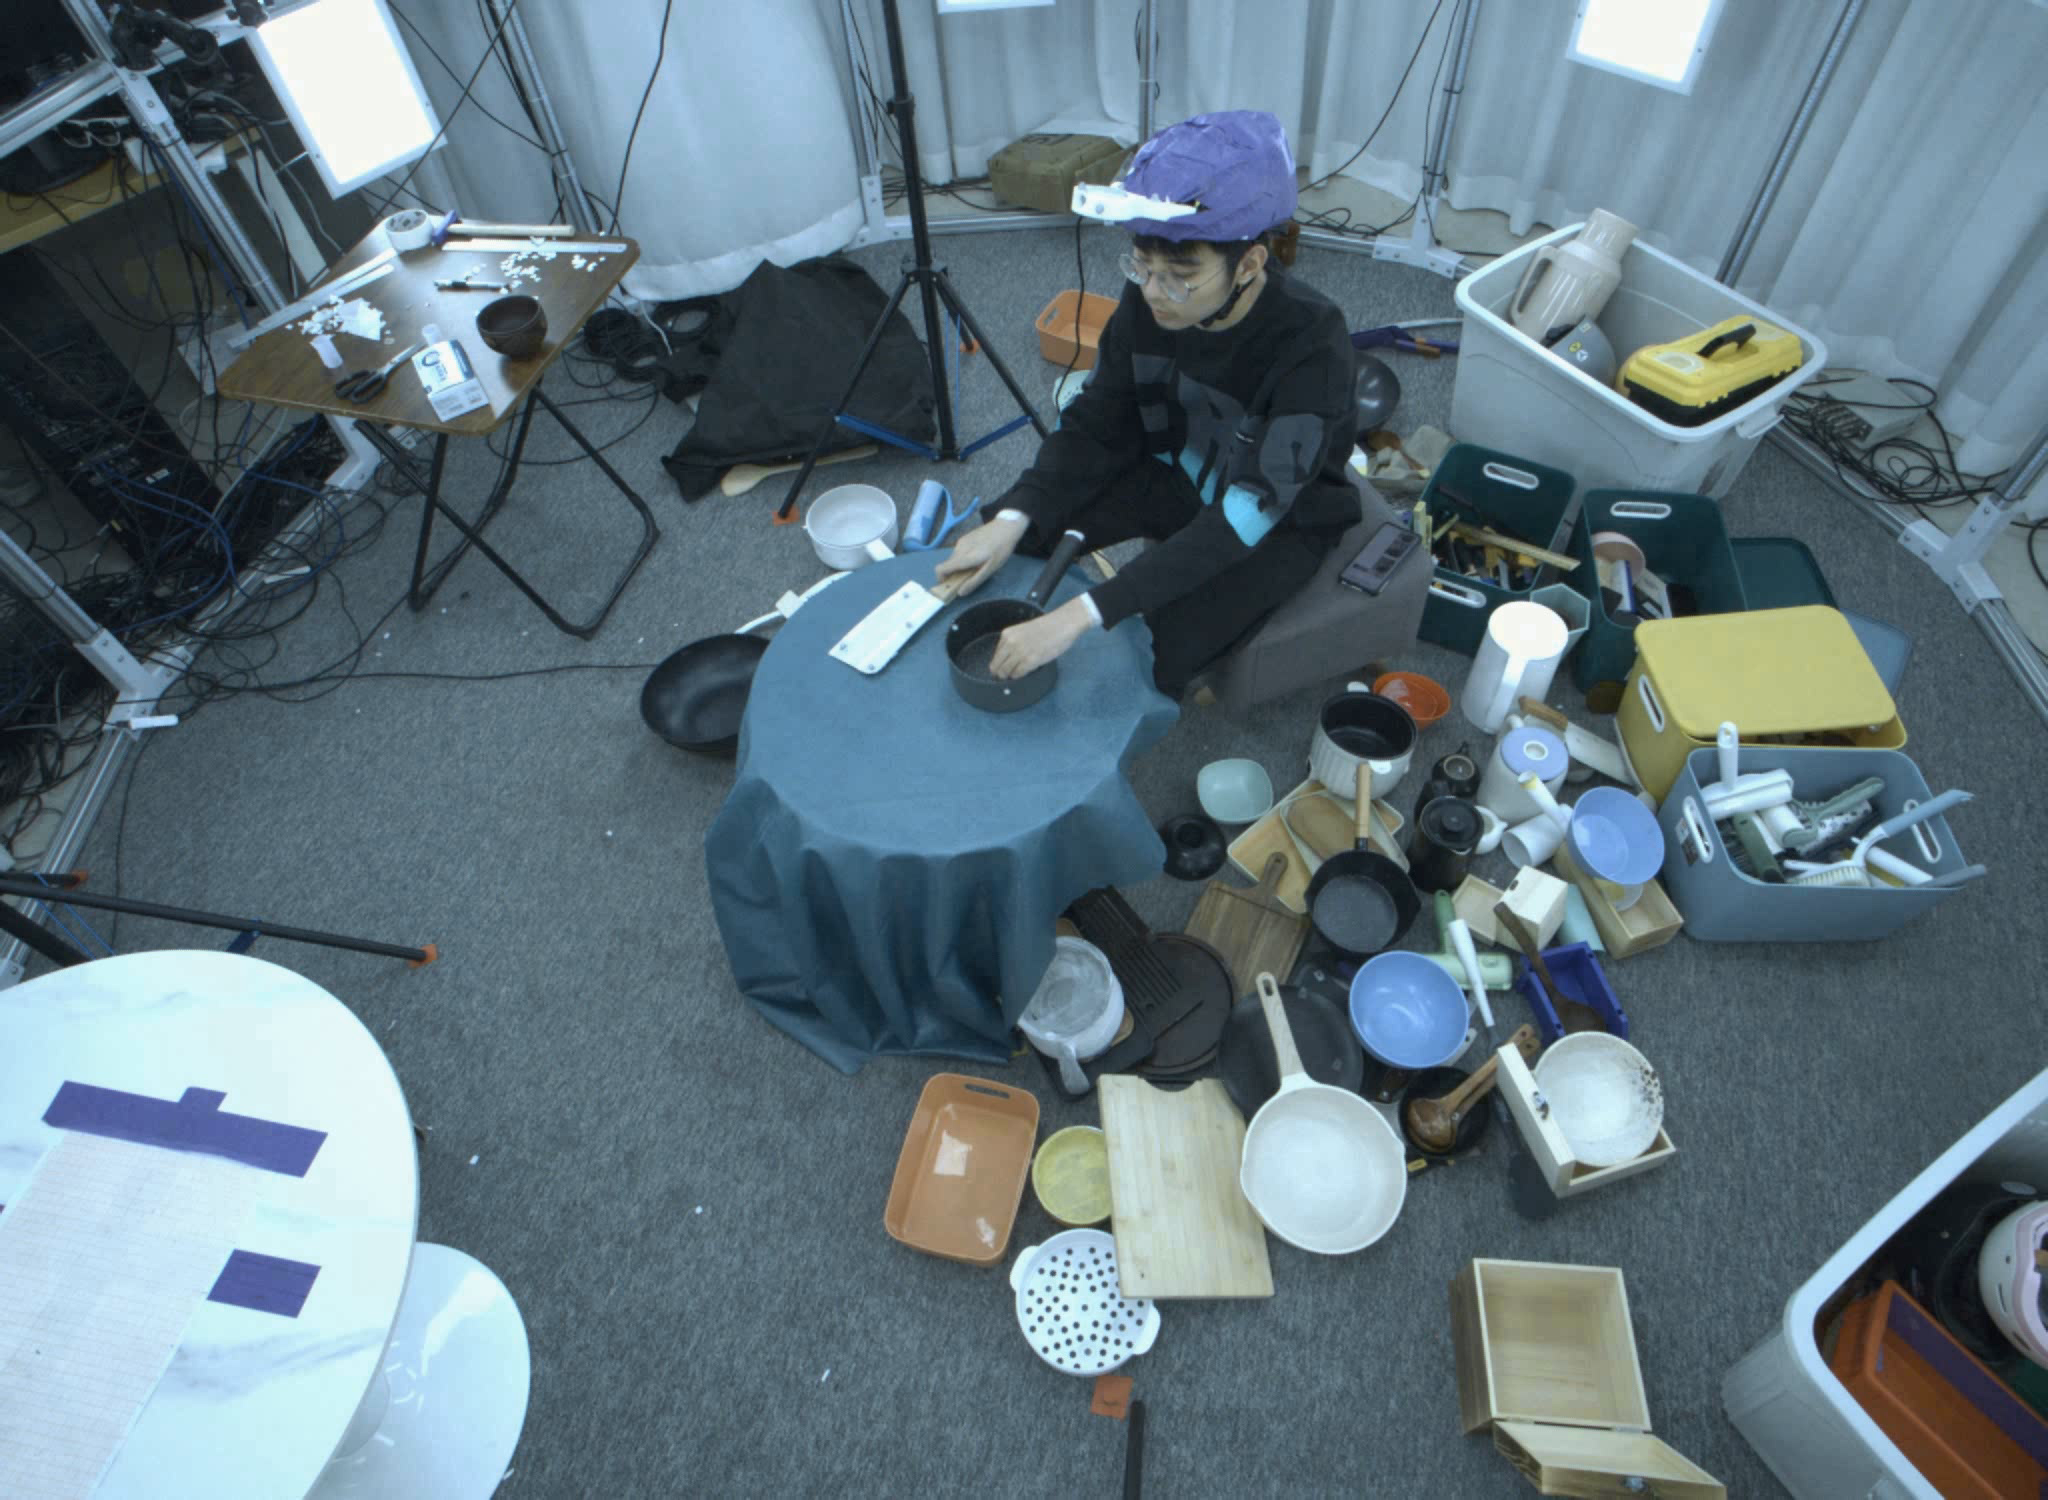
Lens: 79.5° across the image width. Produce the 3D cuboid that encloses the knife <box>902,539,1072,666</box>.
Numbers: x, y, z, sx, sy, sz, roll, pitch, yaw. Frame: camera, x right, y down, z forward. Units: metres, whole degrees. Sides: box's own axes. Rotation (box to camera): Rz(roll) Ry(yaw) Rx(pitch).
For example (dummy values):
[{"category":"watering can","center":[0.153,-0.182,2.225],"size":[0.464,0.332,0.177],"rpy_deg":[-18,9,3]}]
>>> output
[{"category":"knife","center":[-0.048,-0.237,1.935],"size":[0.317,0.022,0.111],"rpy_deg":[-38,56,-17]}]

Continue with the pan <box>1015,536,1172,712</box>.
[{"category":"pan","center":[0.120,-0.196,1.869],"size":[0.169,0.087,0.330],"rpy_deg":[31,62,19]}]
